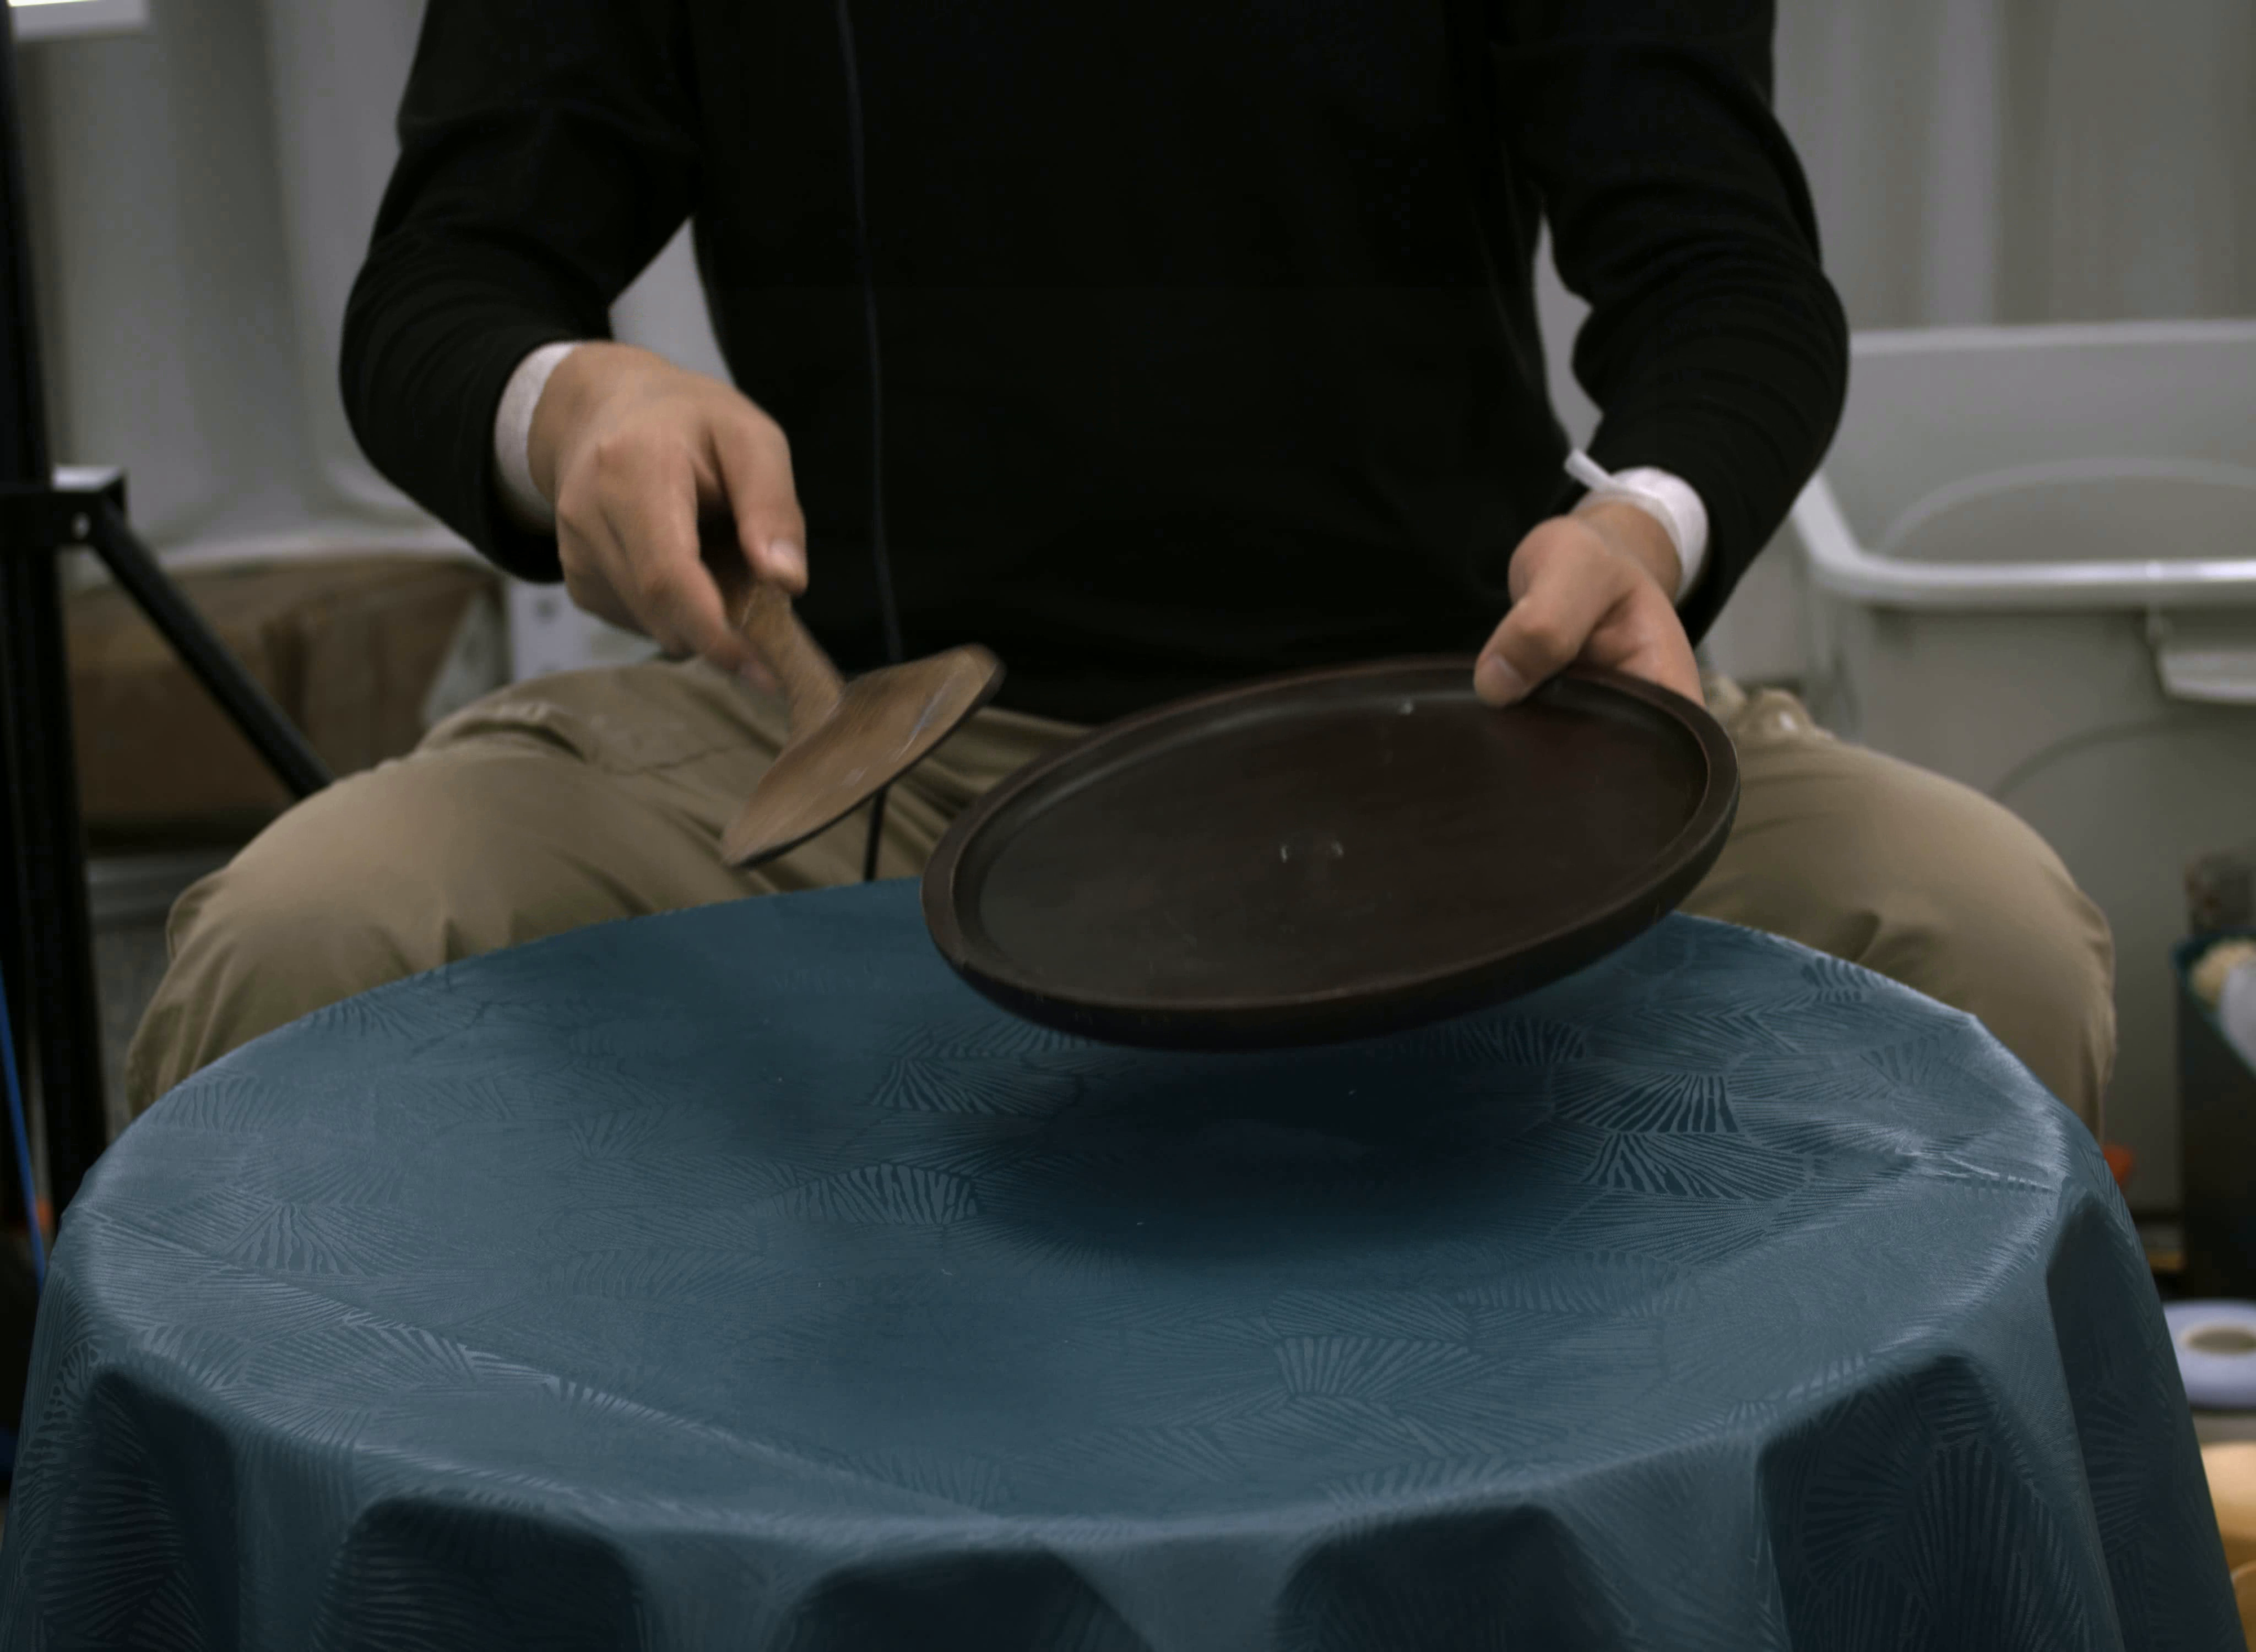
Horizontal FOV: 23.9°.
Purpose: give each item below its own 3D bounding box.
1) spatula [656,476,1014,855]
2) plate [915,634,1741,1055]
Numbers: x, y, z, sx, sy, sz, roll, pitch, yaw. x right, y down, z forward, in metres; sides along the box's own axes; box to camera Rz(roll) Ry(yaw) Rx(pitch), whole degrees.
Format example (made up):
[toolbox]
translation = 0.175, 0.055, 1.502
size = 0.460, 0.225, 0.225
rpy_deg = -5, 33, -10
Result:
[spatula]
translation = -0.108, -0.062, 1.652
size = 0.096, 0.015, 0.391
rpy_deg = -38, 20, -1
[plate]
translation = 0.061, 0.006, 1.616
size = 0.254, 0.029, 0.257
rpy_deg = -10, 24, 3
